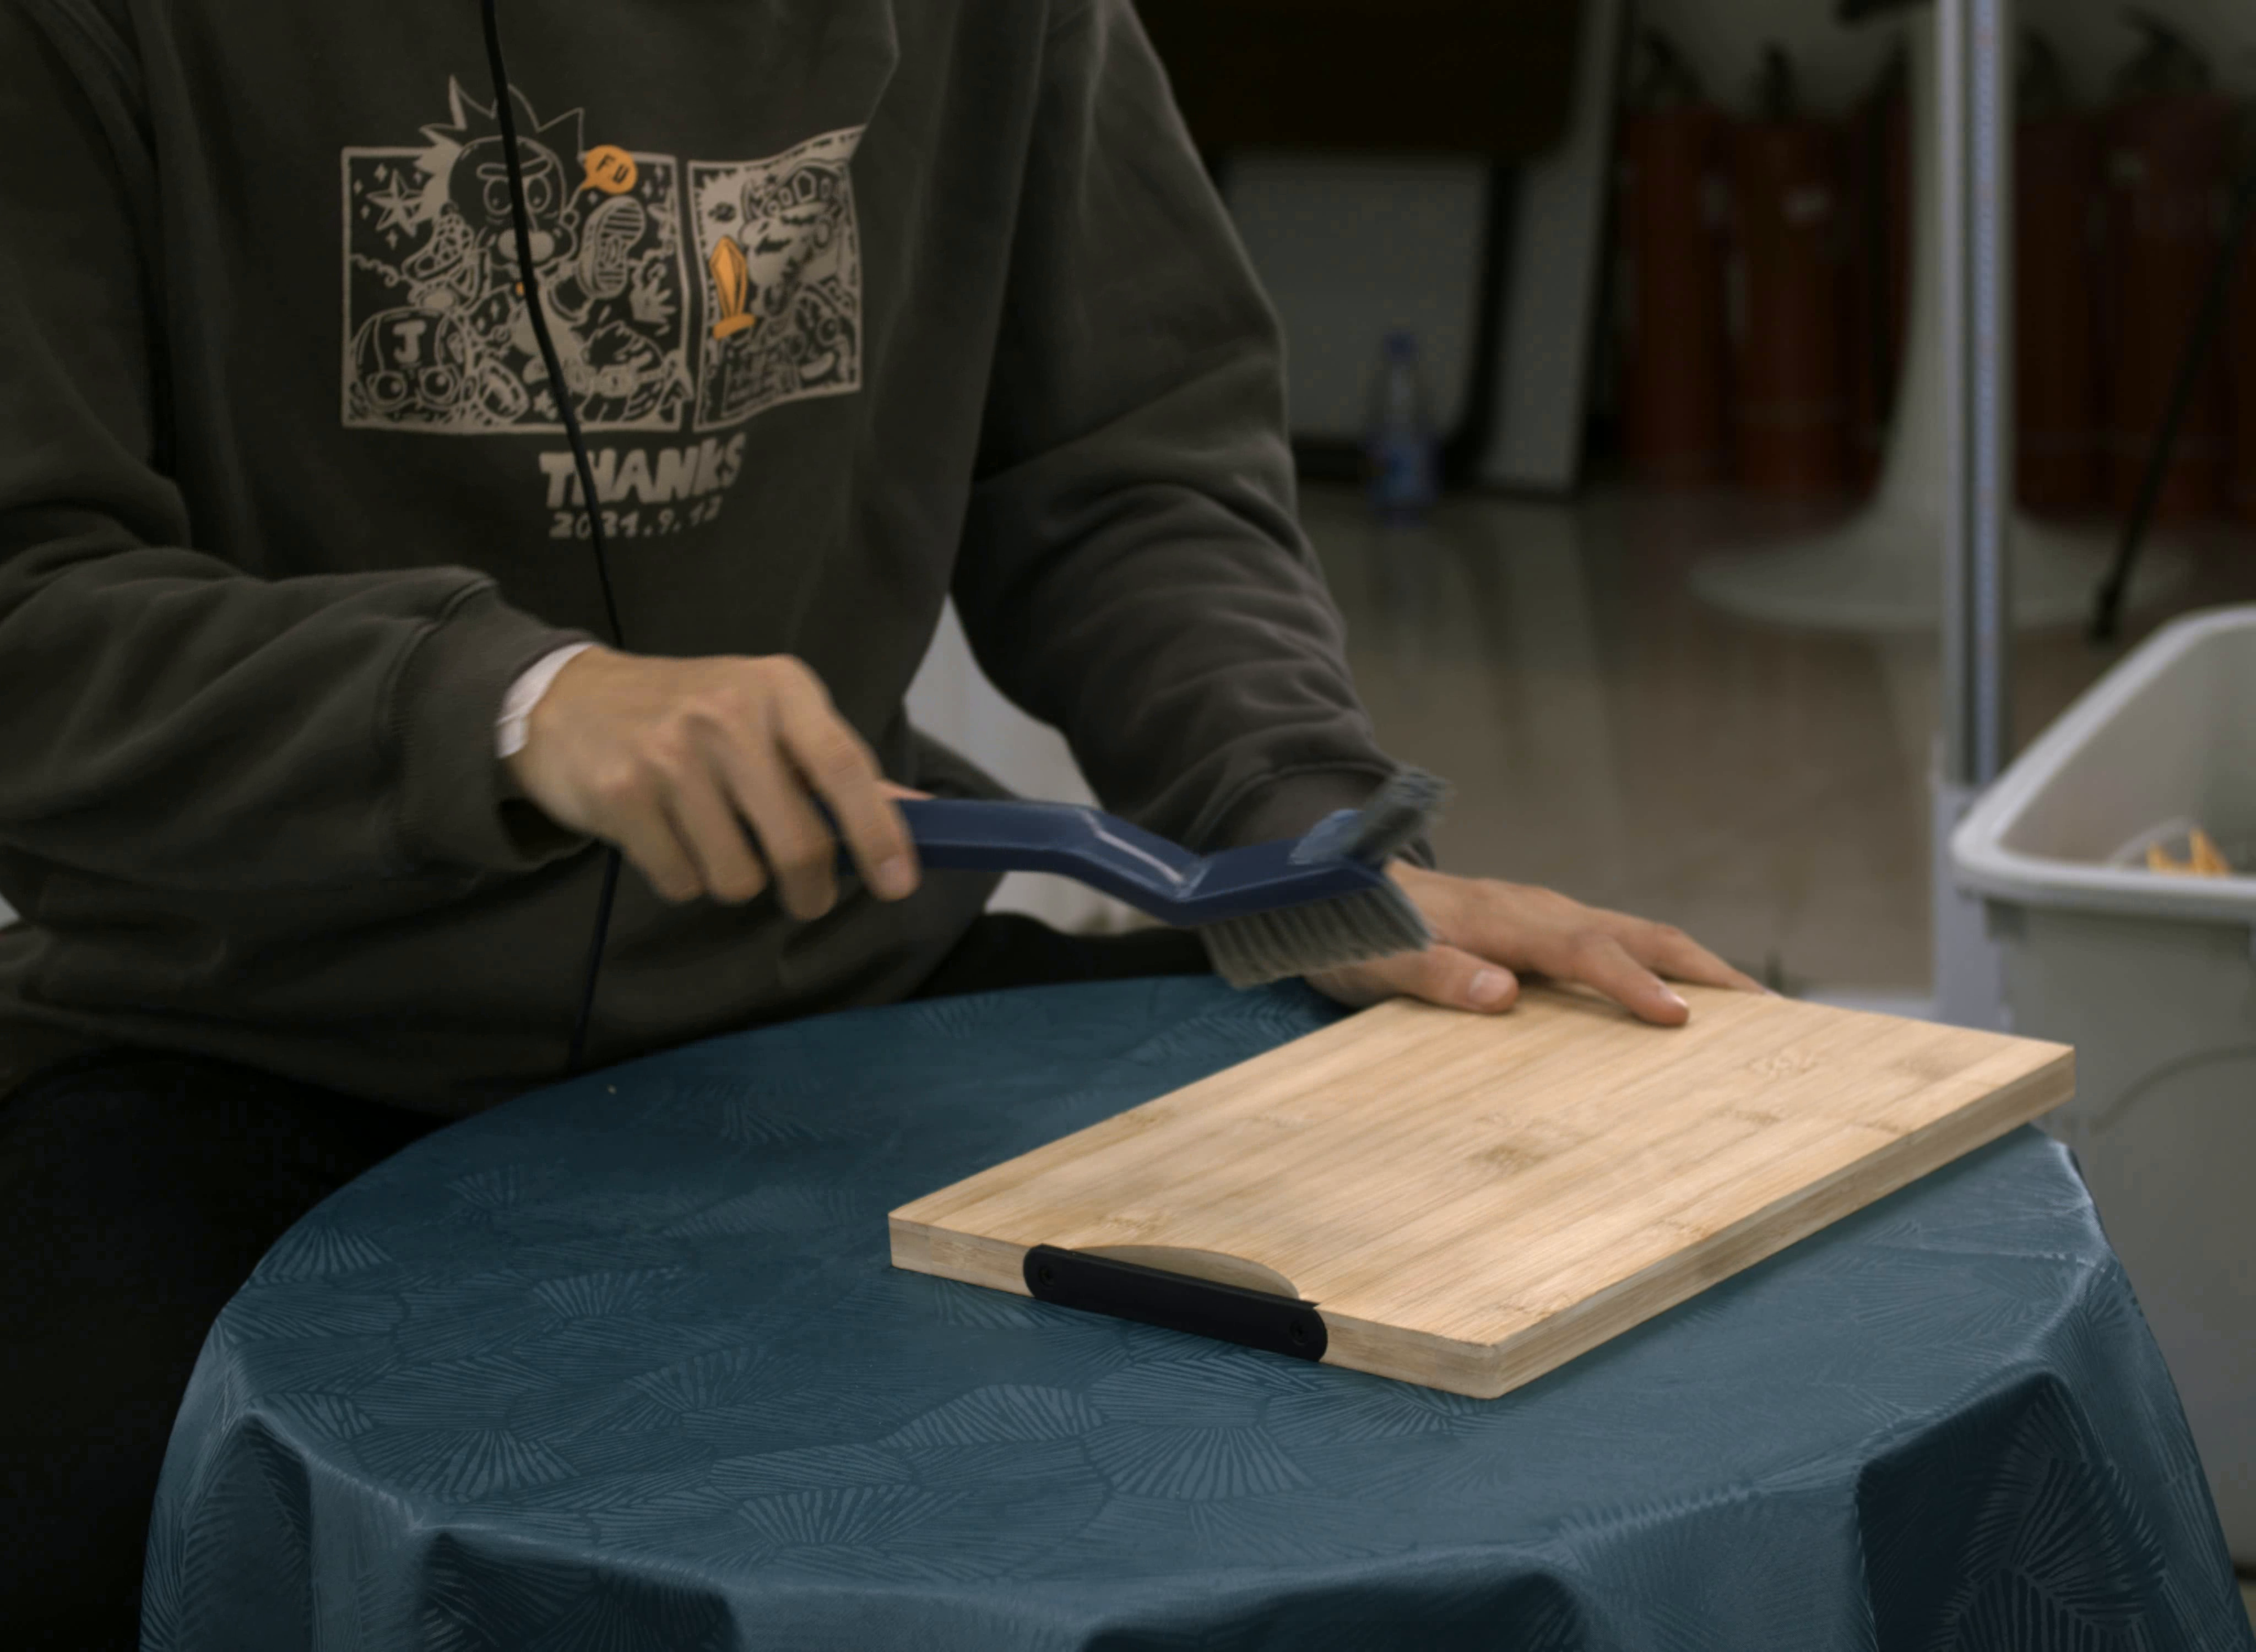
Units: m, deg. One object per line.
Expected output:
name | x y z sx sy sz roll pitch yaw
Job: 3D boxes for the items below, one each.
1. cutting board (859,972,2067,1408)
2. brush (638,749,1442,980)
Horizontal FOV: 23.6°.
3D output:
cutting board | 0.116 0.112 1.751 0.252 0.024 0.342 6 17 39
brush | -0.030 -0.002 1.711 0.272 0.096 0.033 9 40 18
